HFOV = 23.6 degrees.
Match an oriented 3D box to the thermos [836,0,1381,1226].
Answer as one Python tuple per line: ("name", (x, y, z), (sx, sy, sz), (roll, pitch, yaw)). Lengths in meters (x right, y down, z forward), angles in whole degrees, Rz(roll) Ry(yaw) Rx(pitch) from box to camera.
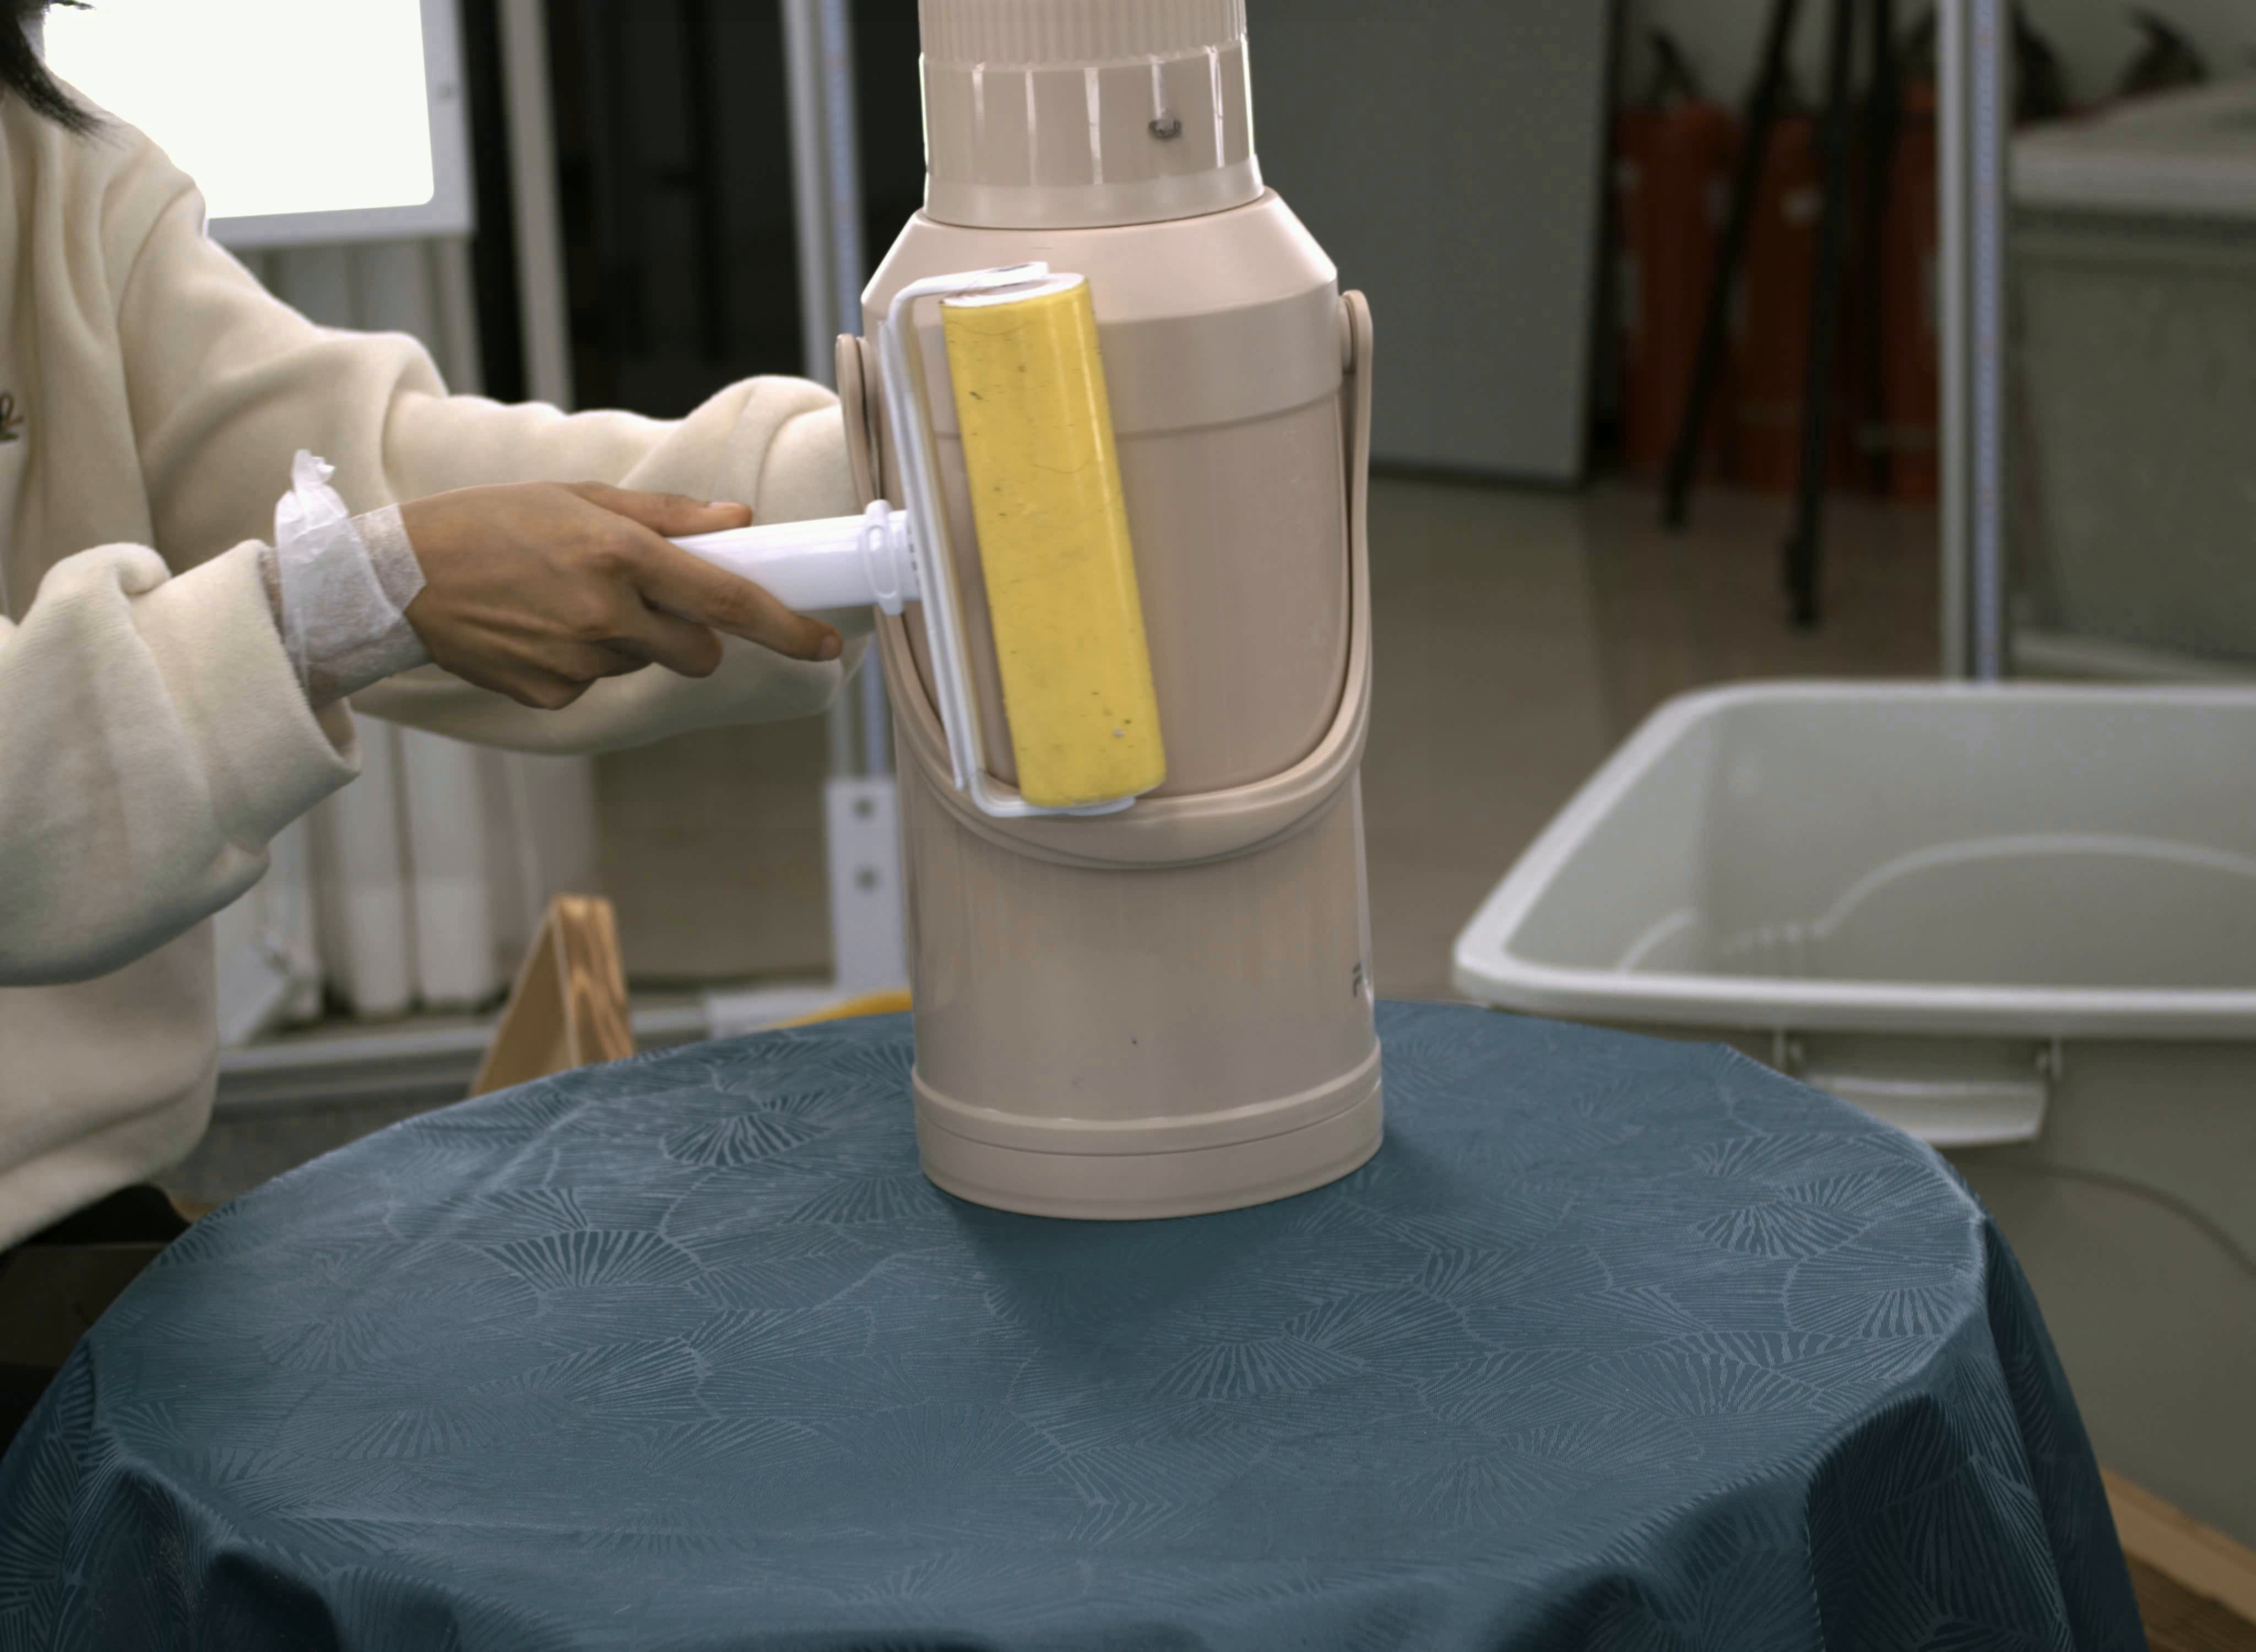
("thermos", (-0.005, -0.087, 1.783), (0.172, 0.411, 0.208), (-6, 13, -8))

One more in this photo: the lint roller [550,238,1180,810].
("lint roller", (-0.090, -0.081, 1.680), (0.190, 0.176, 0.051), (-9, 12, 7))
